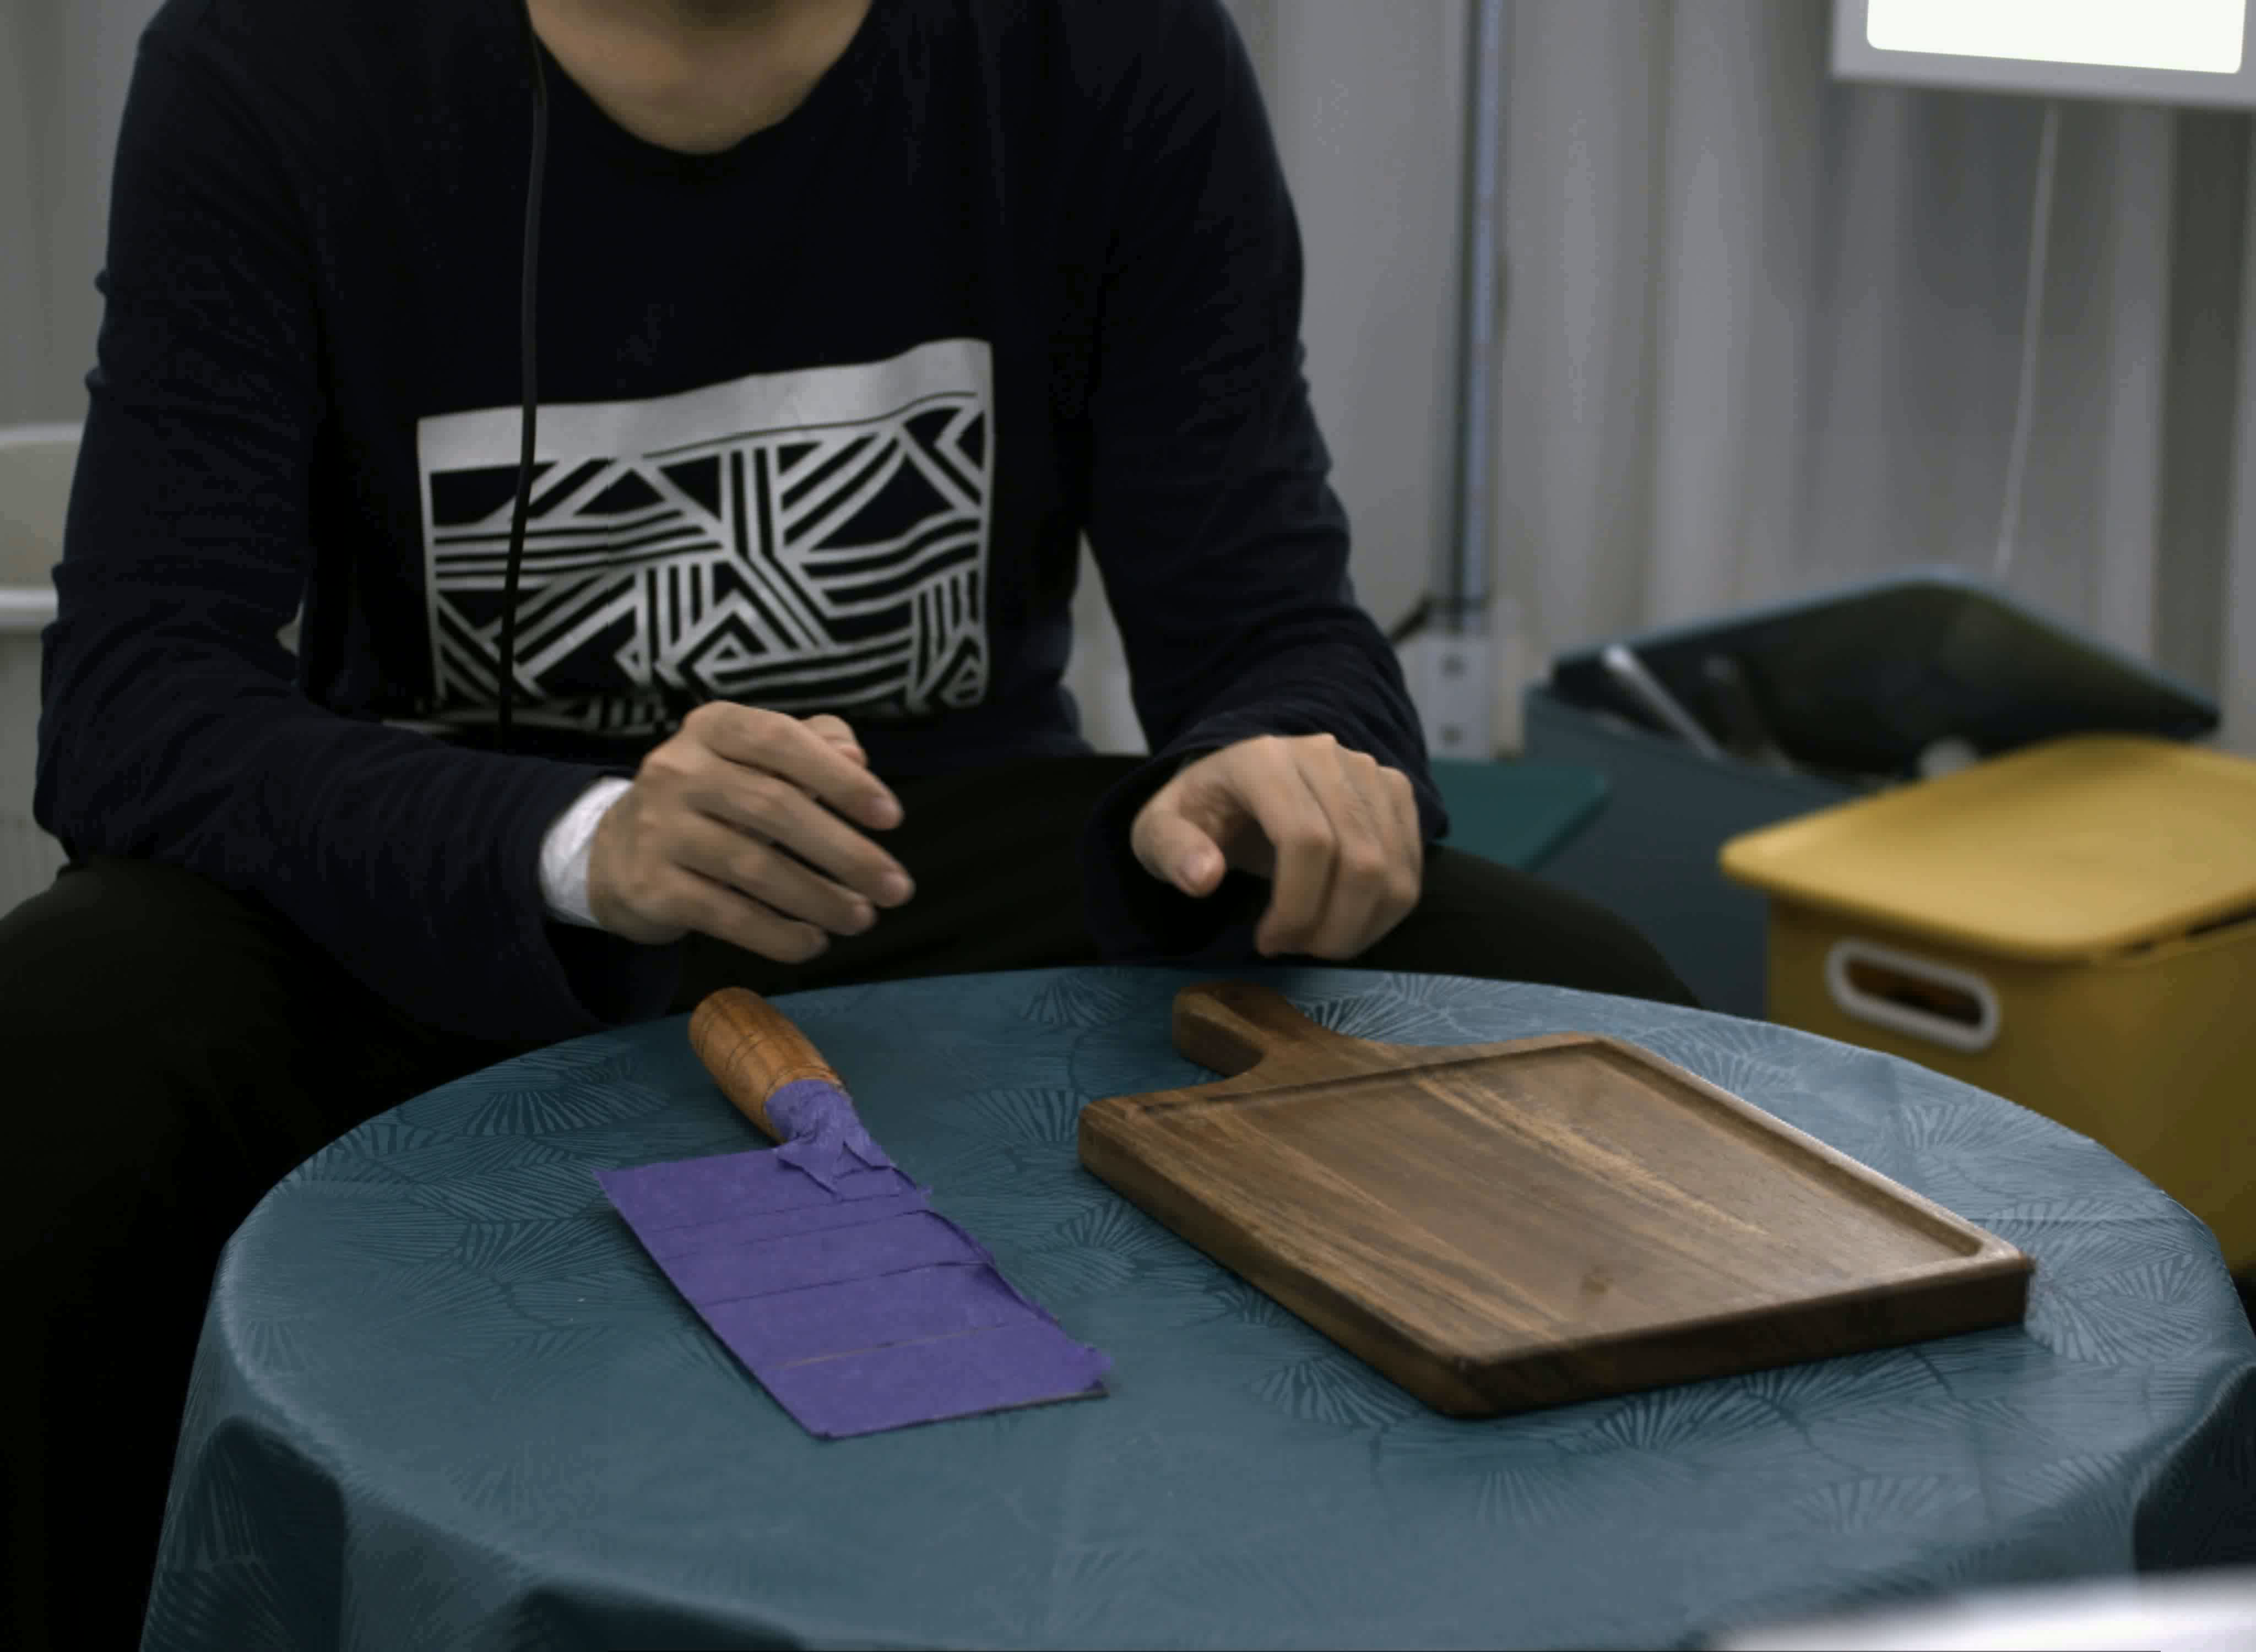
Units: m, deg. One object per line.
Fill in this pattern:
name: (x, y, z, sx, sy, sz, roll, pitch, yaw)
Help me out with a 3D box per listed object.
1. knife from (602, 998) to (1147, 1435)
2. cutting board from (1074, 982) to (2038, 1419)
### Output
knife: (-0.101, 0.112, 1.572, 0.104, 0.032, 0.311, -6, 17, -23)
cutting board: (0.102, 0.103, 1.626, 0.202, 0.023, 0.348, -7, 16, -25)
